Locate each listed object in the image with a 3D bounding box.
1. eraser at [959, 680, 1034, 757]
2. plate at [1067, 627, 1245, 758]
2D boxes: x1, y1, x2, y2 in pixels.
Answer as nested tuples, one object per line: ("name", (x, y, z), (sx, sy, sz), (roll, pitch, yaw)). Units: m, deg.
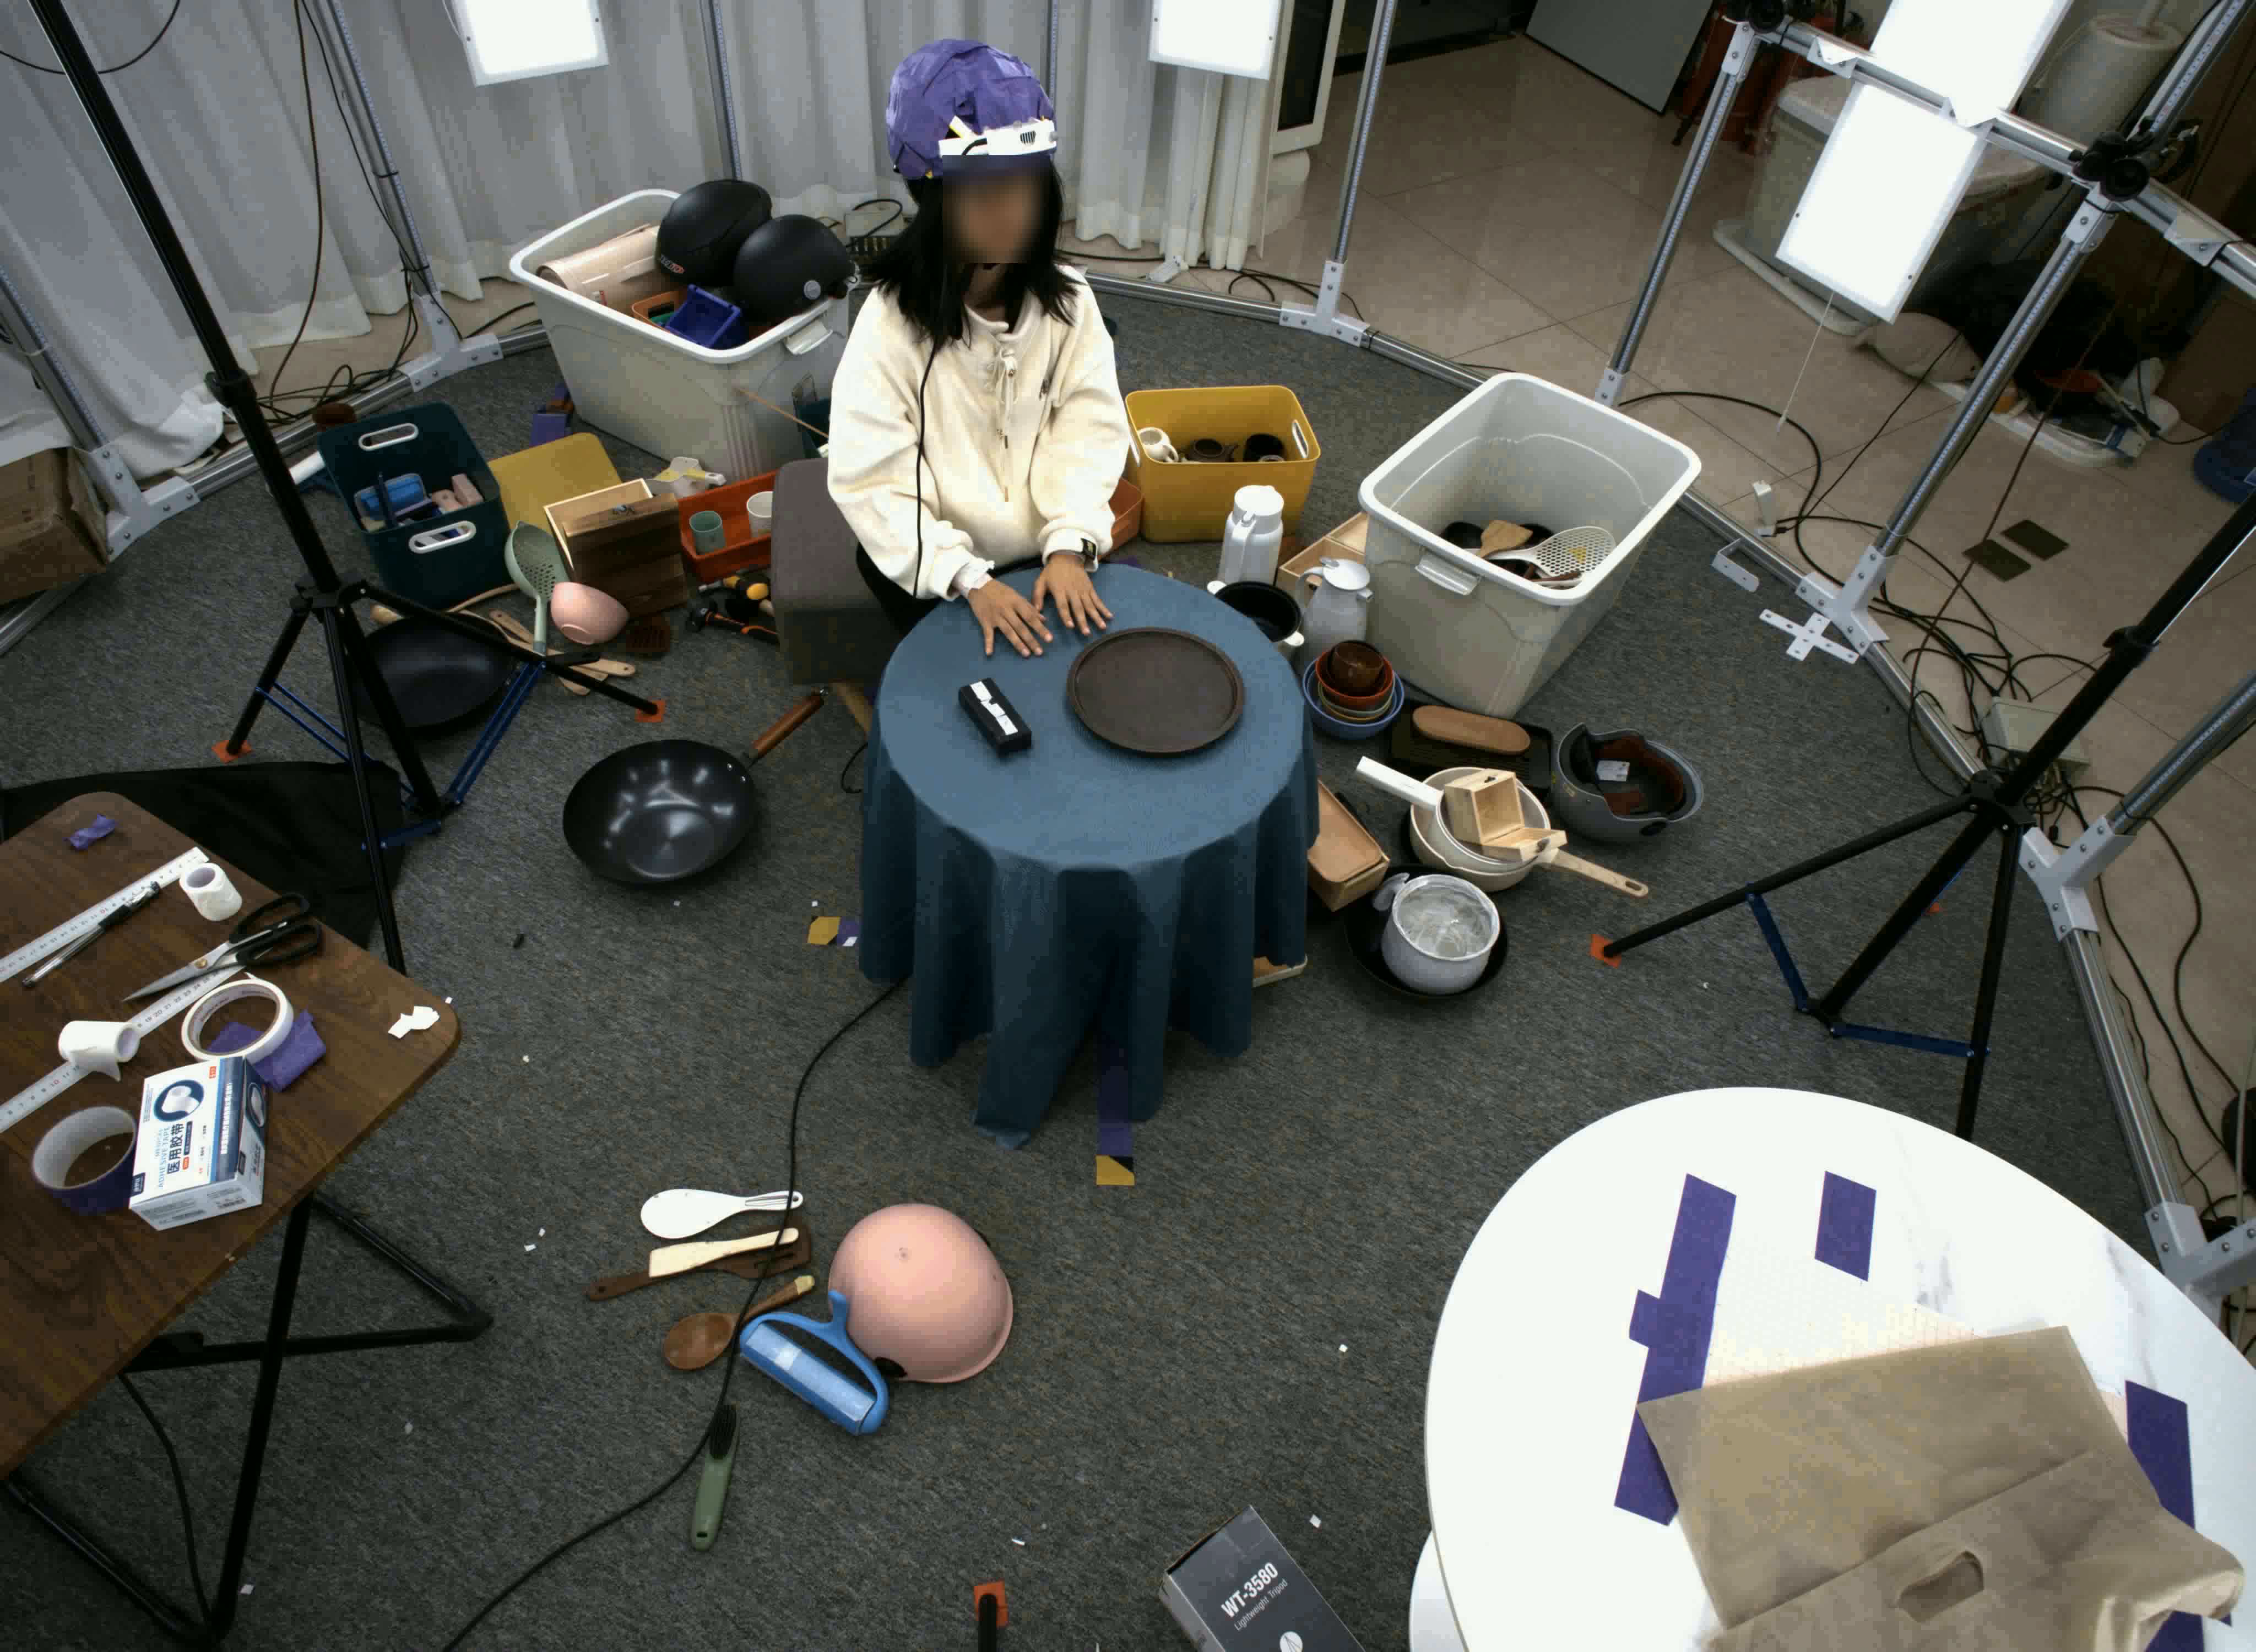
("eraser", (-0.182, -0.149, 1.770), (0.053, 0.030, 0.128), (-21, 52, -24))
("plate", (0.040, -0.192, 1.823), (0.254, 0.028, 0.261), (2, 50, -3))
